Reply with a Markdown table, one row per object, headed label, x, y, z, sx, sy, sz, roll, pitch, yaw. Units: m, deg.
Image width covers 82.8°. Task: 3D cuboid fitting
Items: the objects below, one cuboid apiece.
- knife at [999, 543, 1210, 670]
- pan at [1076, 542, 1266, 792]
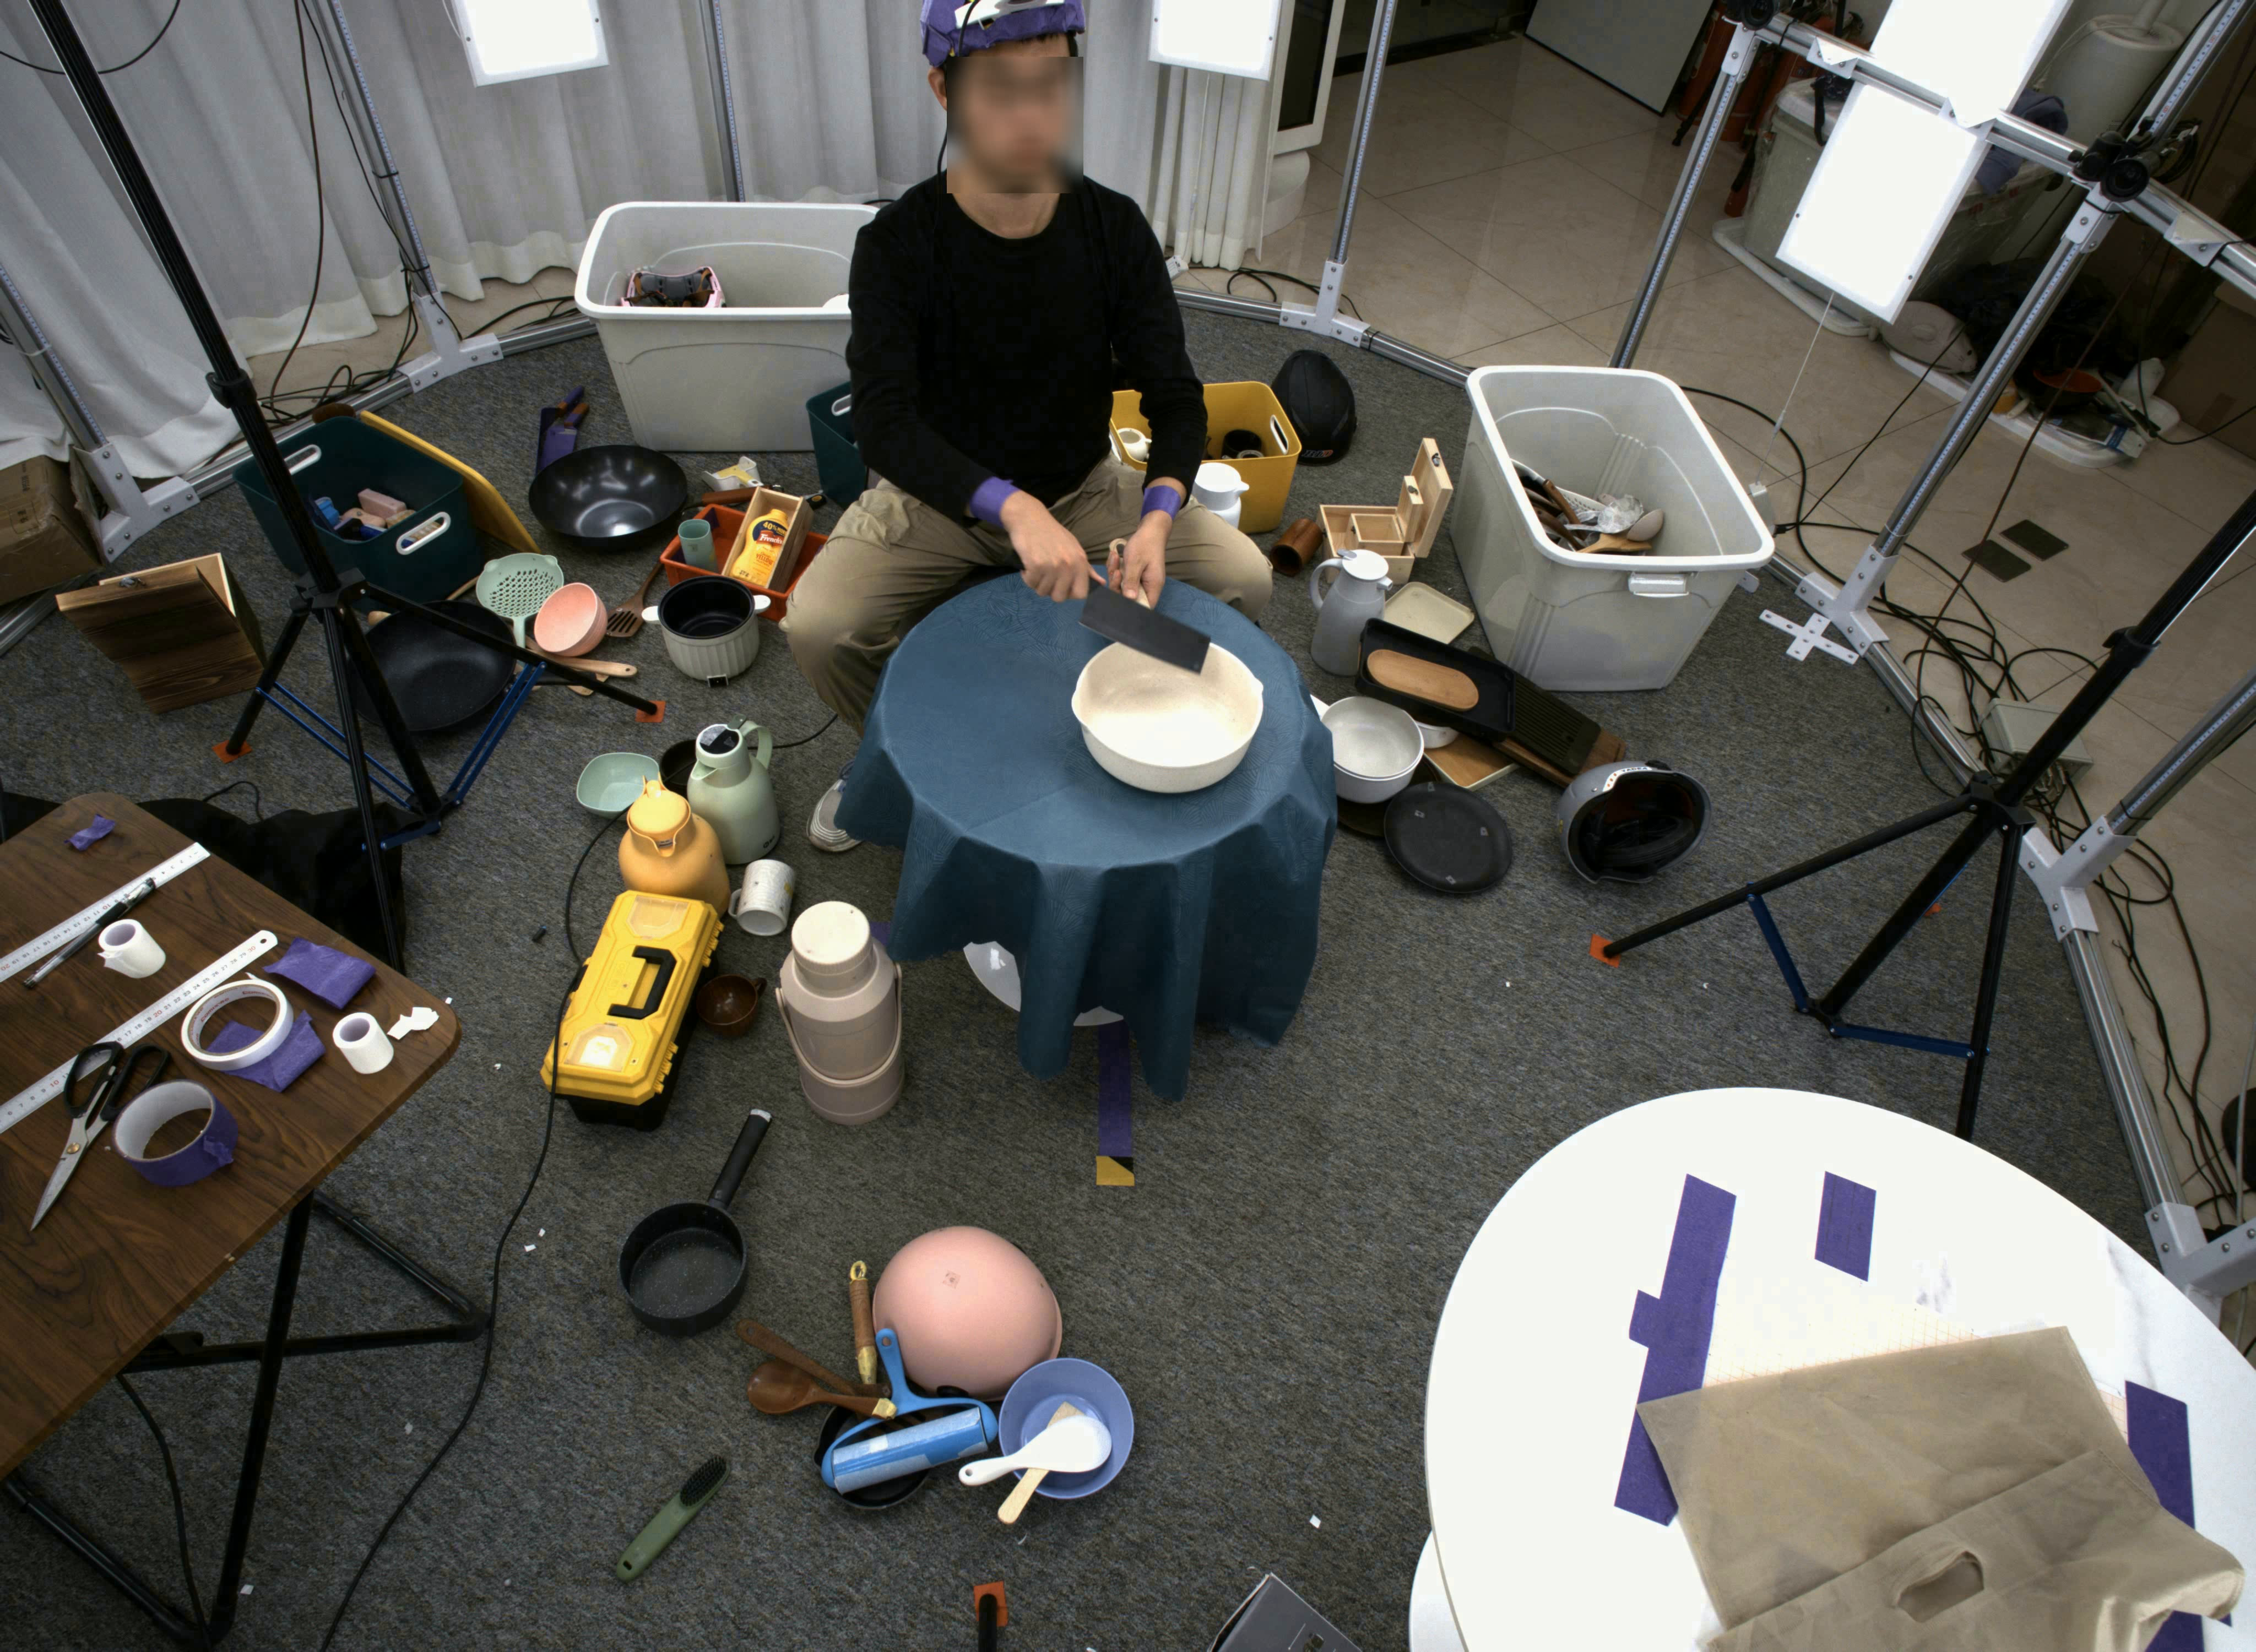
| label | x | y | z | sx | sy | sz | roll | pitch | yaw |
| --- | --- | --- | --- | --- | --- | --- | --- | --- | --- |
| knife | -0.030 | -0.292 | 1.702 | 0.300 | 0.020 | 0.082 | 26 | 67 | -10 |
| pan | 0.036 | -0.224 | 1.803 | 0.263 | 0.099 | 0.446 | -10 | 50 | -10 |
